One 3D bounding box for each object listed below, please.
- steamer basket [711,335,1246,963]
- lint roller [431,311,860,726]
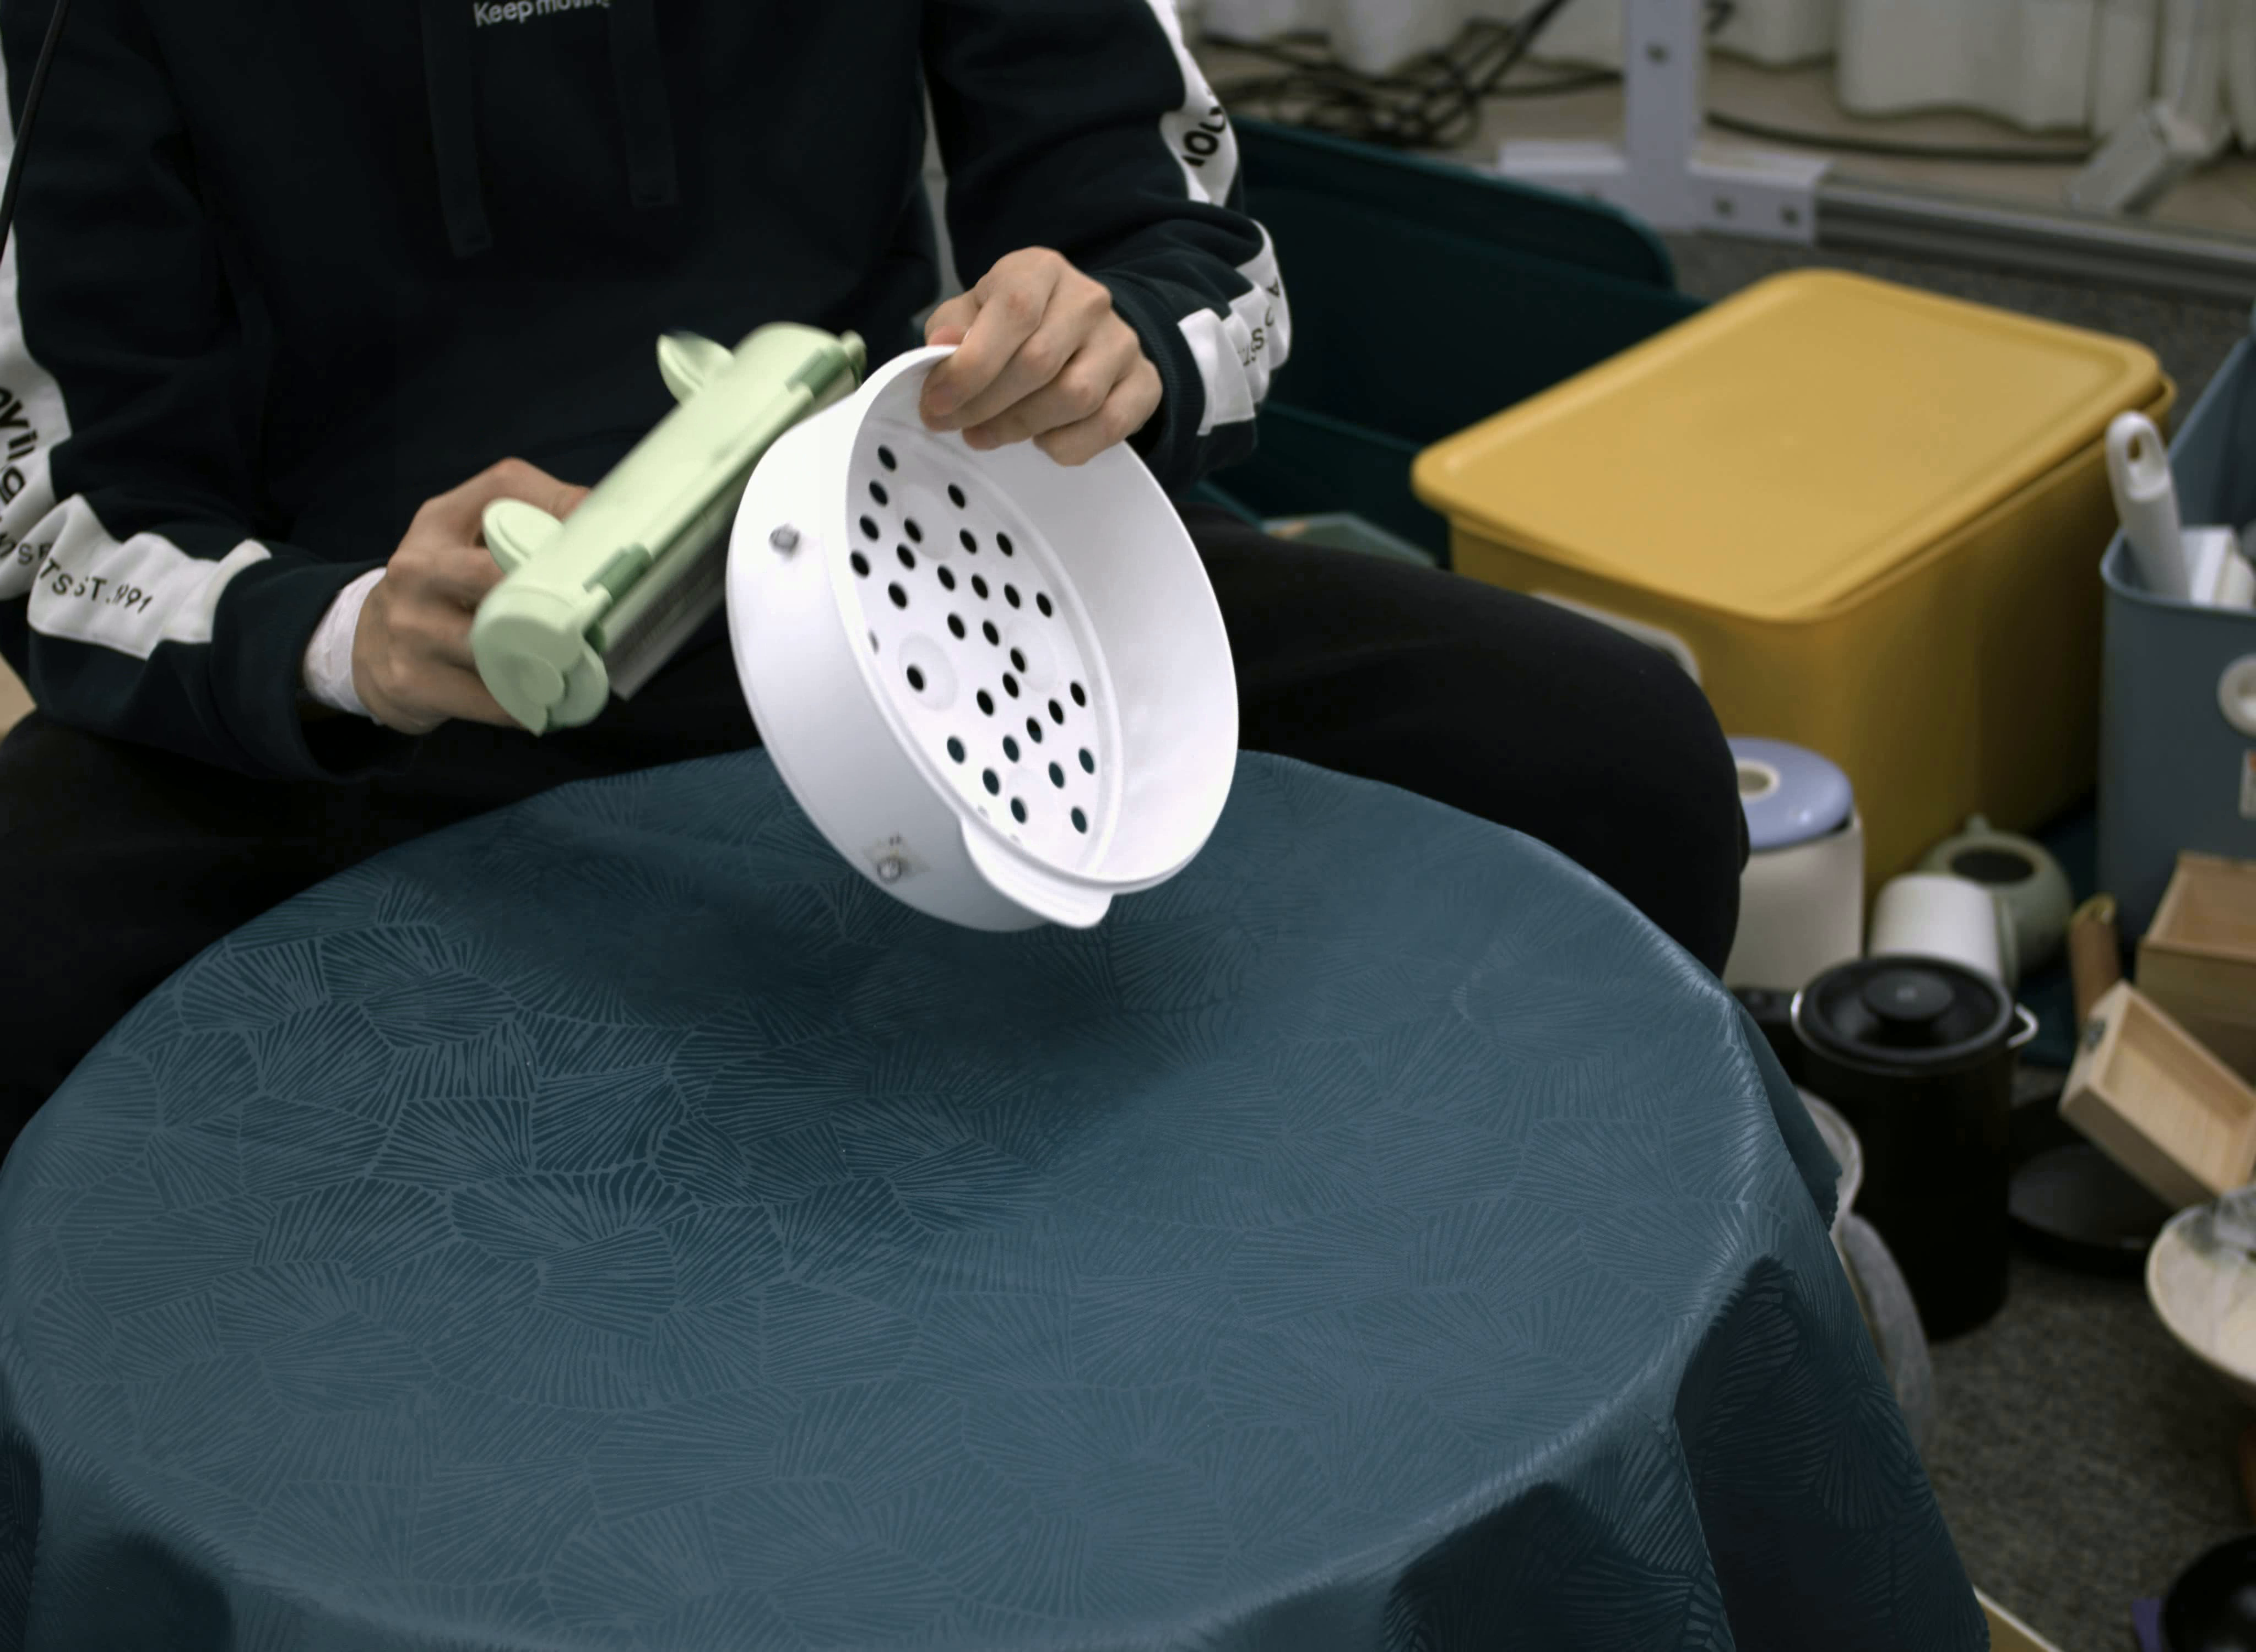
[{"bbox_3d":[-0.051,-0.054,1.938,0.201,0.235,0.068,24,-35,-37],"label":"steamer basket"},{"bbox_3d":[-0.200,-0.101,1.981,0.180,0.082,0.202,-19,22,40],"label":"lint roller"}]
